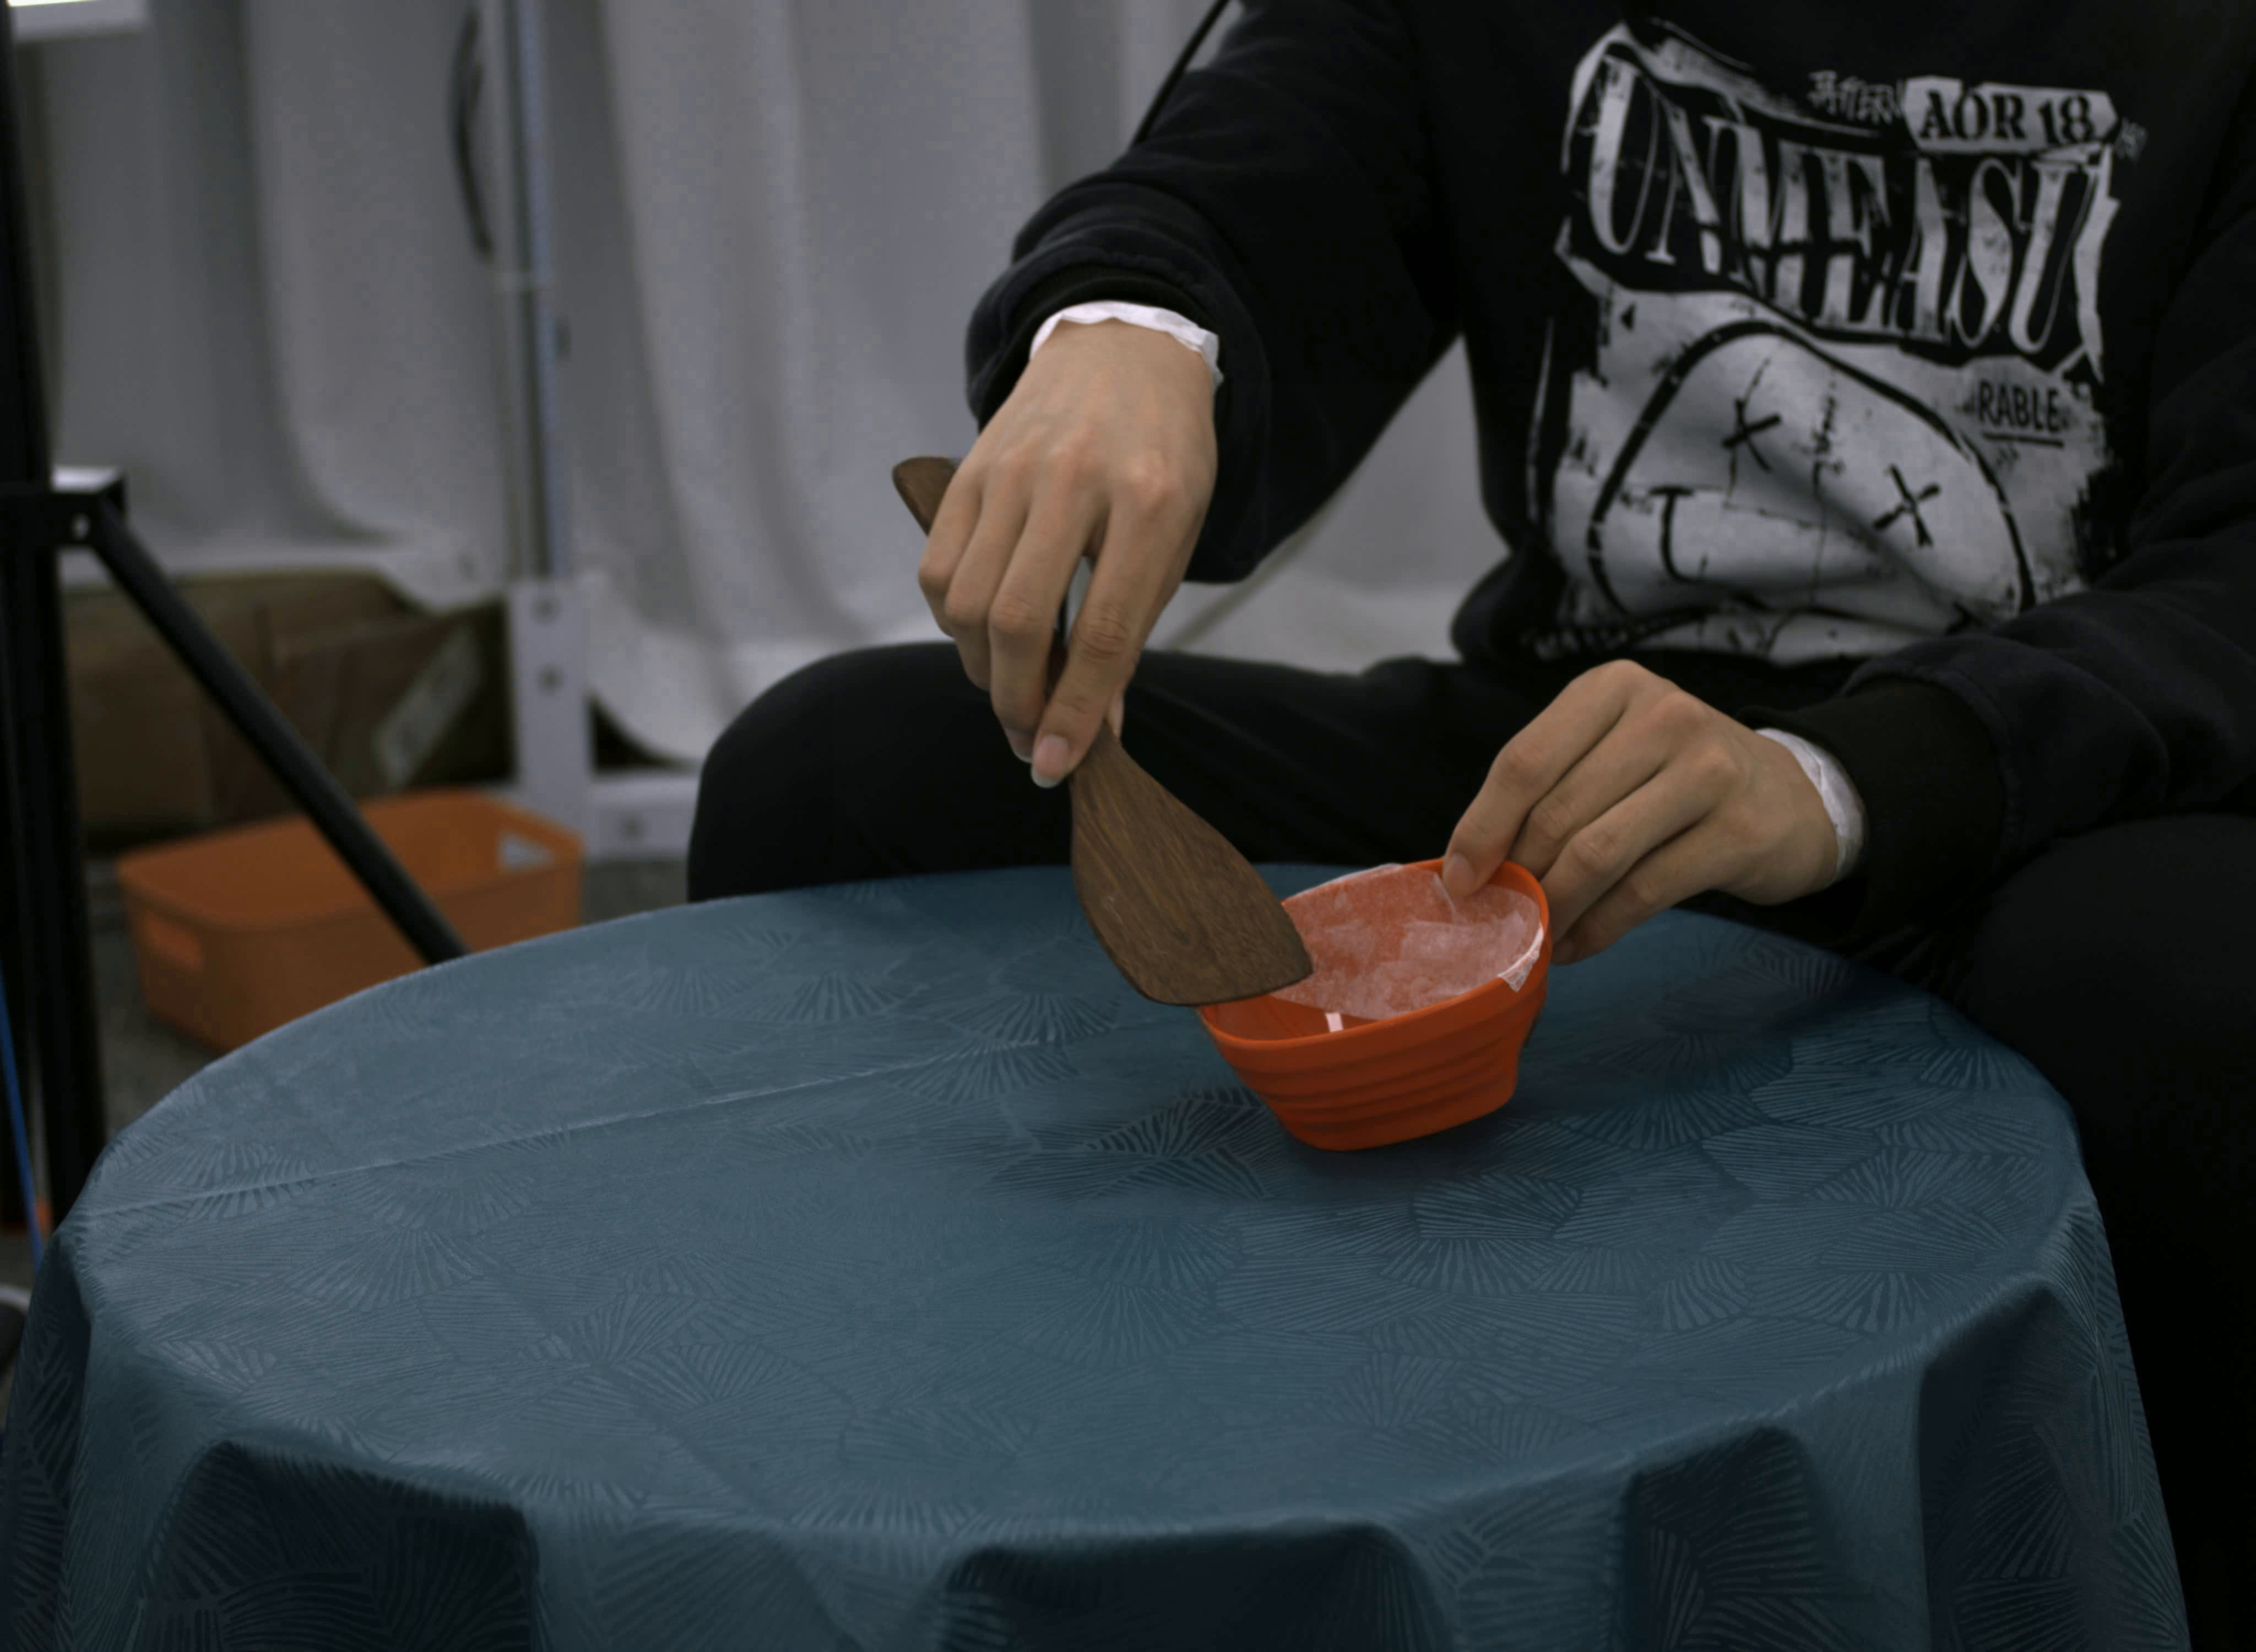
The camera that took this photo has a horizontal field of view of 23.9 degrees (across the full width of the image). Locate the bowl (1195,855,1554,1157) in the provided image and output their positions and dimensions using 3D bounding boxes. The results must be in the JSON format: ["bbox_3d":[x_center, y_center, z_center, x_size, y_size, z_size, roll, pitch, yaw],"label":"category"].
[{"bbox_3d":[0.080,0.058,1.597,0.119,0.051,0.120,-17,22,6],"label":"bowl"}]

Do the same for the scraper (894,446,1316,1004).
[{"bbox_3d":[-0.016,-0.032,1.615,0.074,0.011,0.215,-8,58,-40],"label":"scraper"}]
